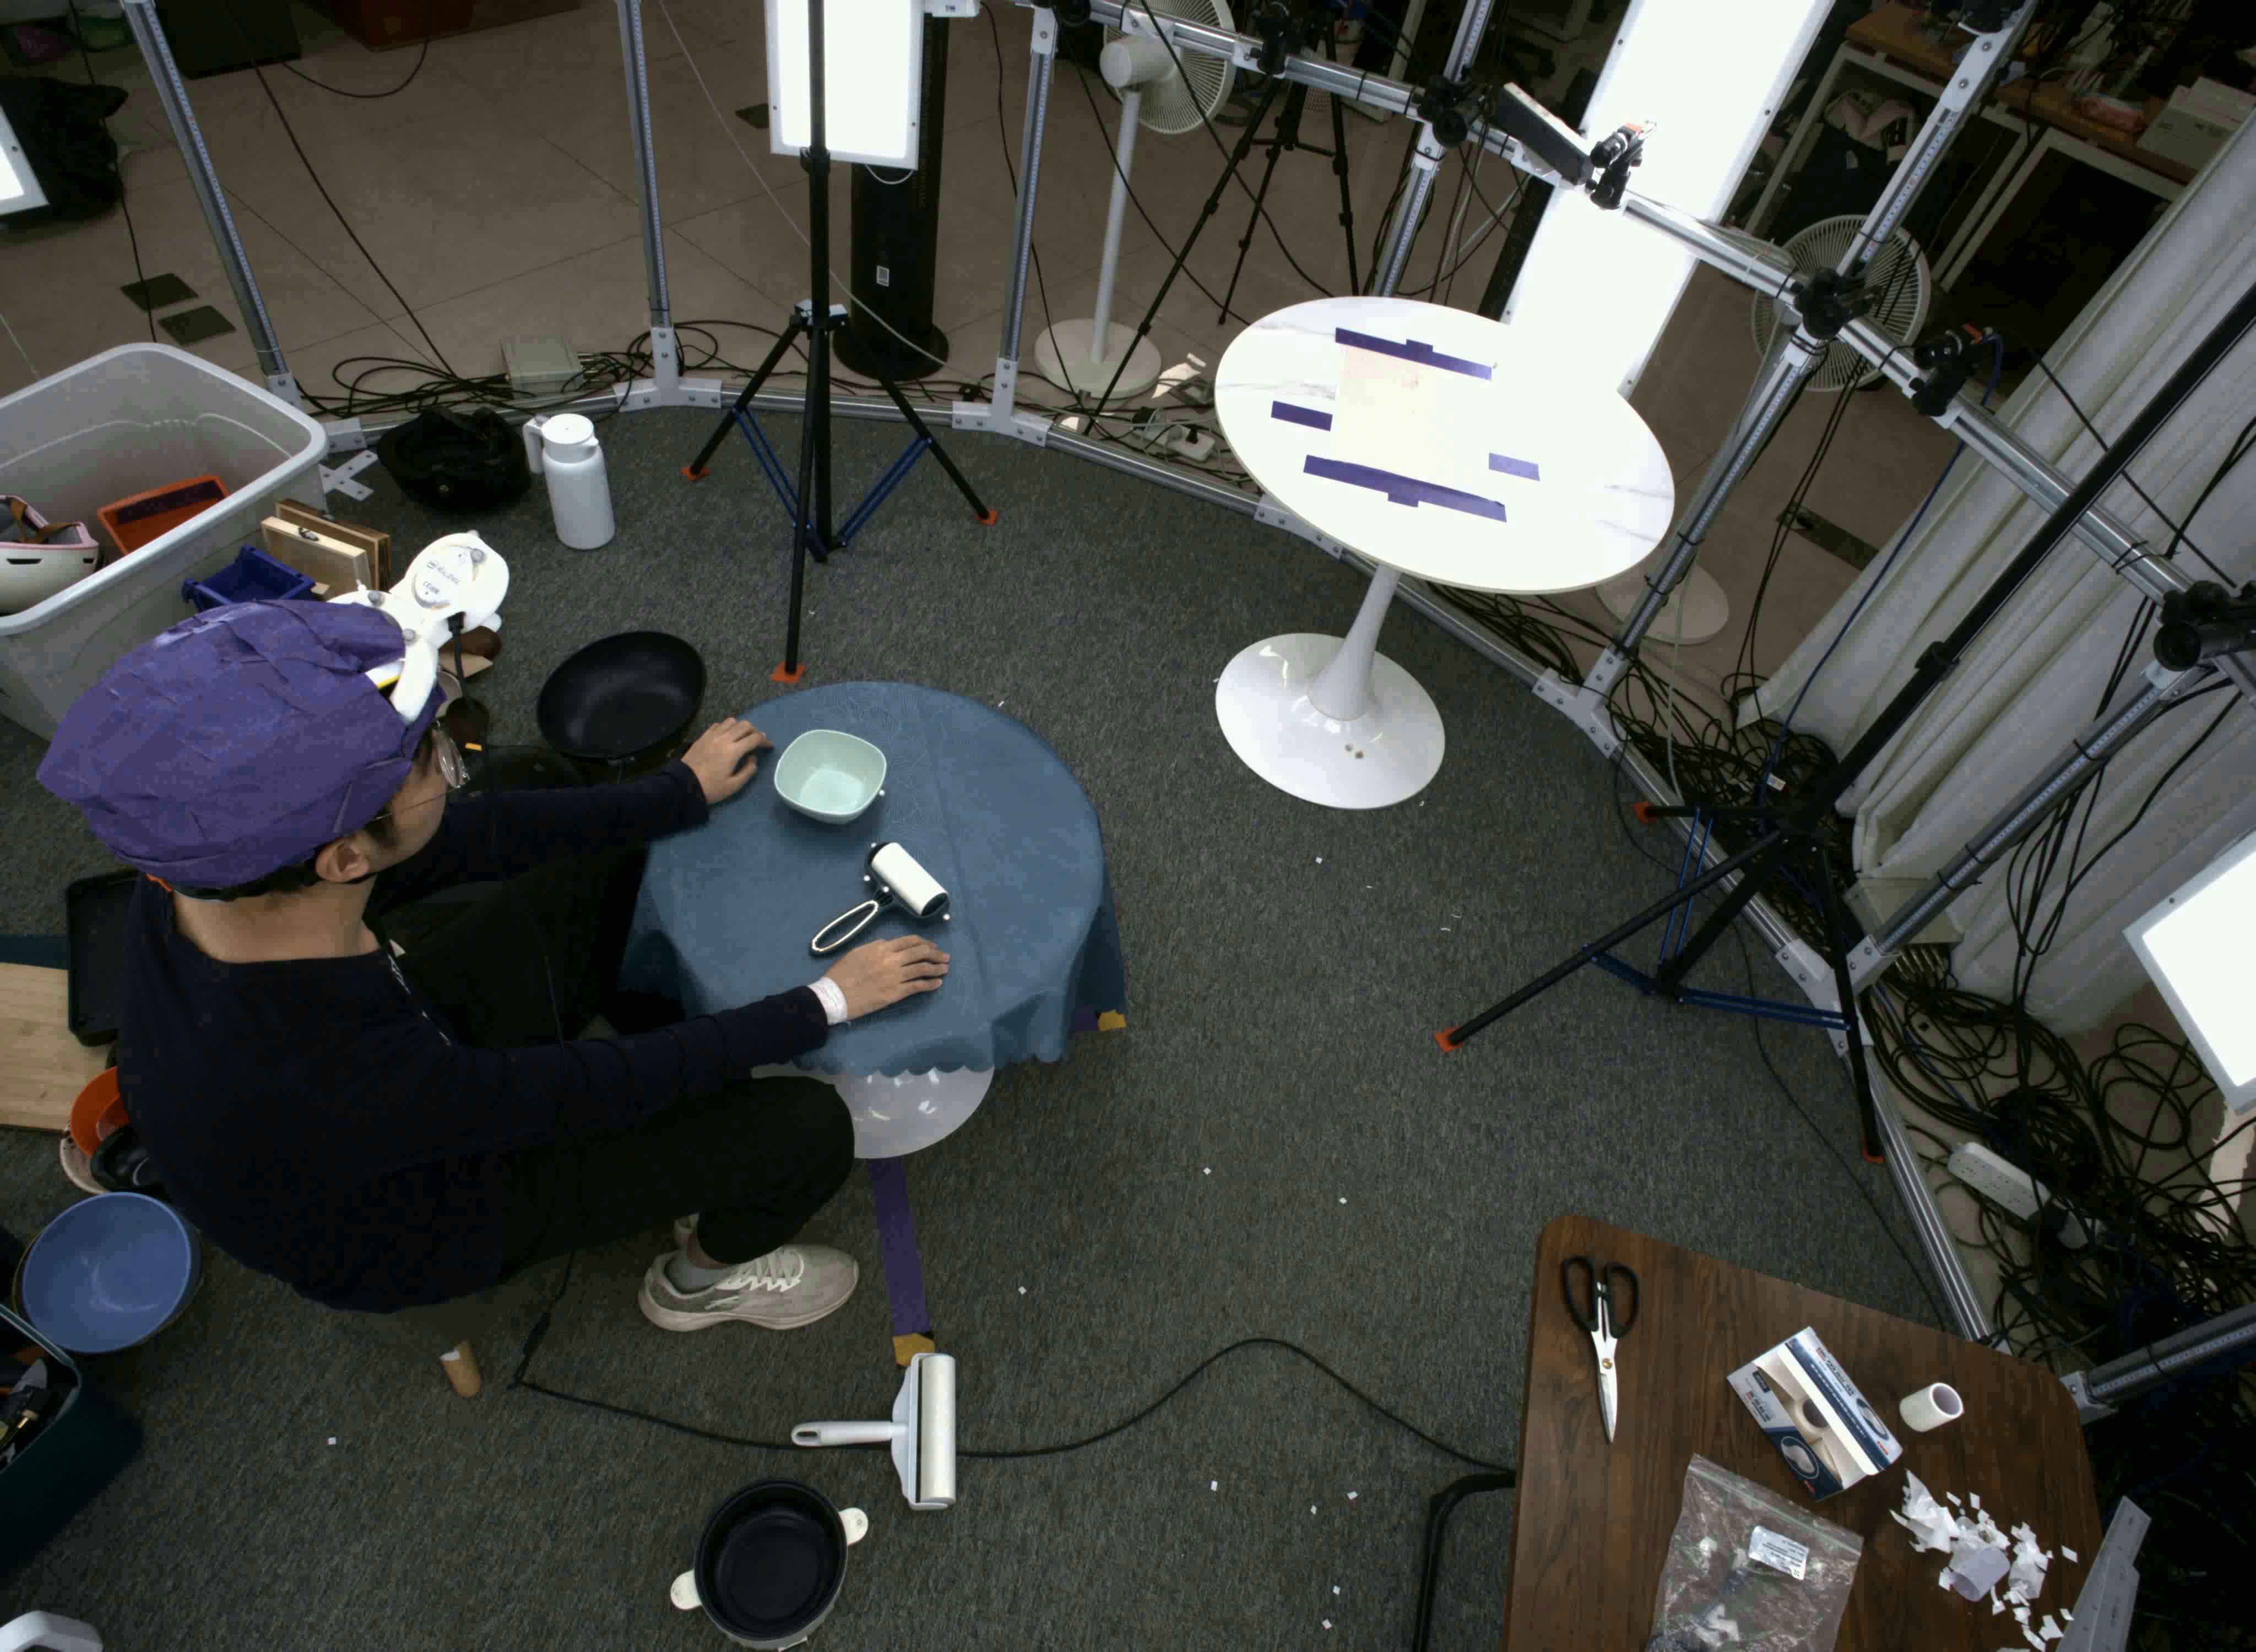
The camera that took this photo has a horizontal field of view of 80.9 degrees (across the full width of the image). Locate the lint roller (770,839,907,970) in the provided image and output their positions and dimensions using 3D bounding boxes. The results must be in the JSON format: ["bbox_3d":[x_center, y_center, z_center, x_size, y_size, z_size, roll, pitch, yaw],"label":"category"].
[{"bbox_3d":[-0.382,0.110,1.639,0.131,0.049,0.180,40,58,16],"label":"lint roller"}]

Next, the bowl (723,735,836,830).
[{"bbox_3d":[-0.463,-0.049,1.725,0.151,0.060,0.148,9,50,-9],"label":"bowl"}]
